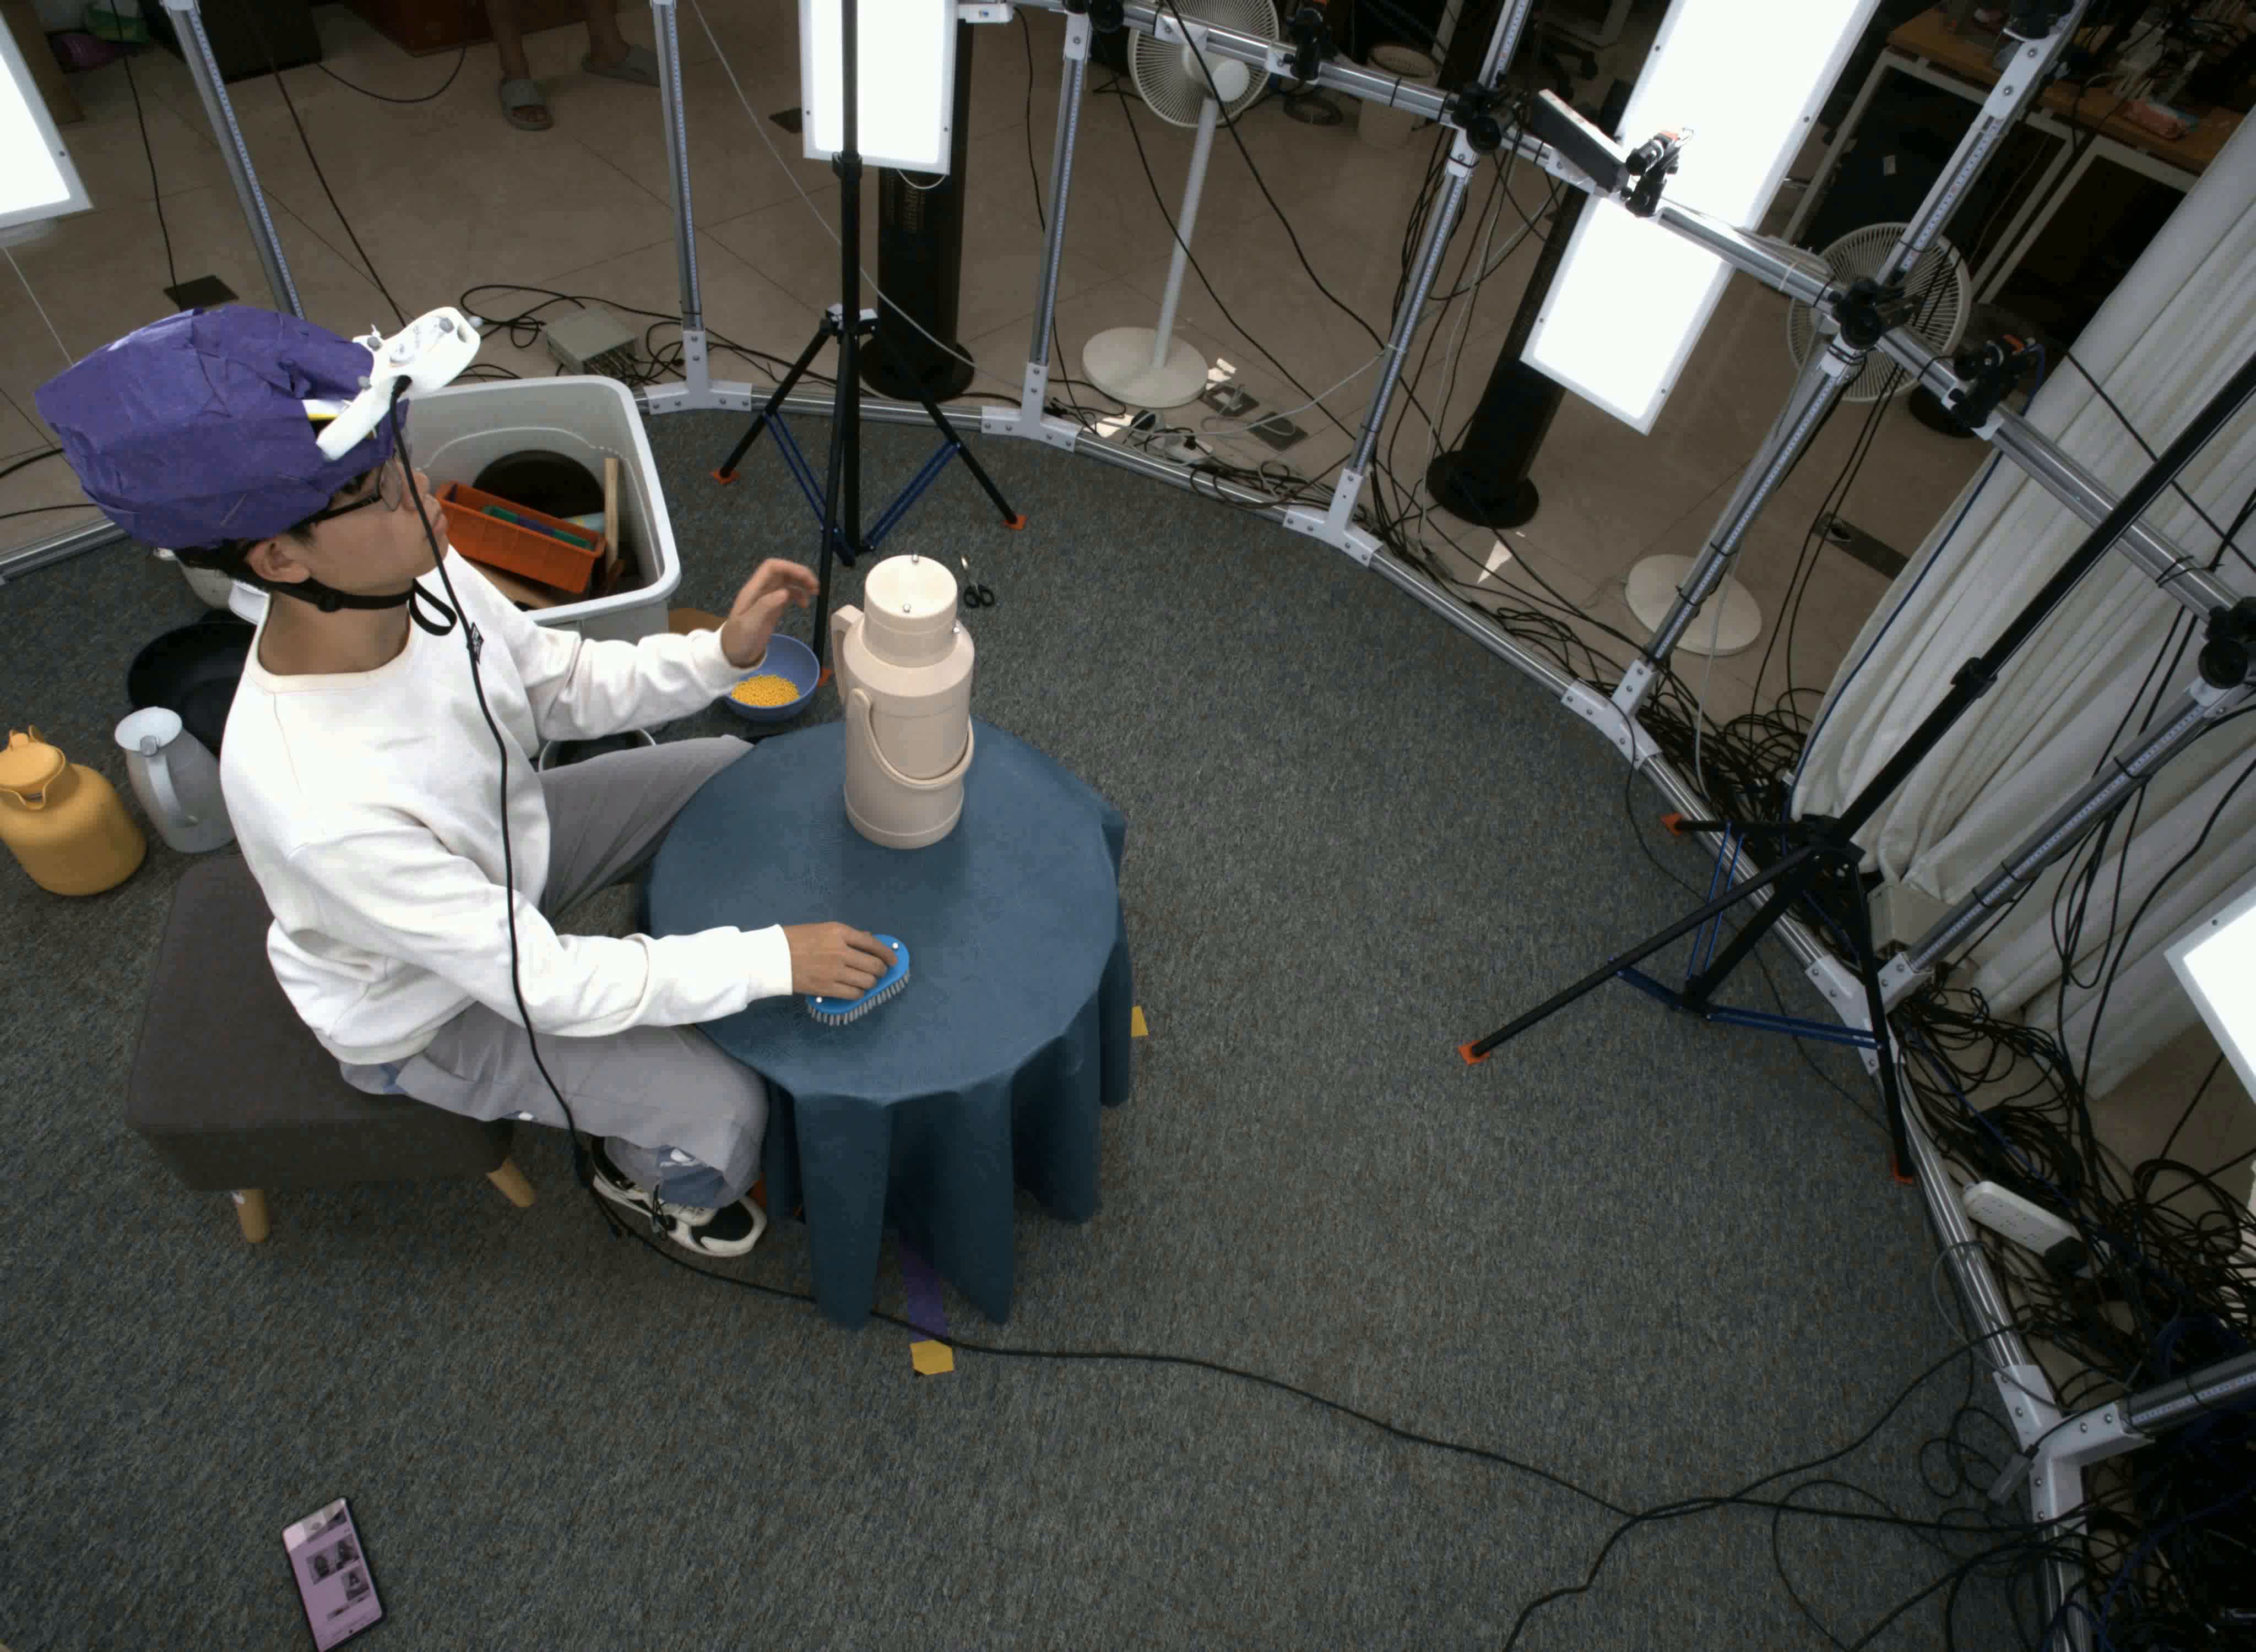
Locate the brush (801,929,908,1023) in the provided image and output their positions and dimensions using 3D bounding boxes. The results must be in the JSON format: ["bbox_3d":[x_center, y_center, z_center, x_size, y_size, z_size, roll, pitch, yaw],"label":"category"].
[{"bbox_3d":[-0.331,0.175,1.583,0.142,0.065,0.082,-31,69,-30],"label":"brush"}]

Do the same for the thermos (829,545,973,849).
[{"bbox_3d":[-0.290,-0.164,1.634,0.203,0.415,0.175,32,55,15],"label":"thermos"}]
